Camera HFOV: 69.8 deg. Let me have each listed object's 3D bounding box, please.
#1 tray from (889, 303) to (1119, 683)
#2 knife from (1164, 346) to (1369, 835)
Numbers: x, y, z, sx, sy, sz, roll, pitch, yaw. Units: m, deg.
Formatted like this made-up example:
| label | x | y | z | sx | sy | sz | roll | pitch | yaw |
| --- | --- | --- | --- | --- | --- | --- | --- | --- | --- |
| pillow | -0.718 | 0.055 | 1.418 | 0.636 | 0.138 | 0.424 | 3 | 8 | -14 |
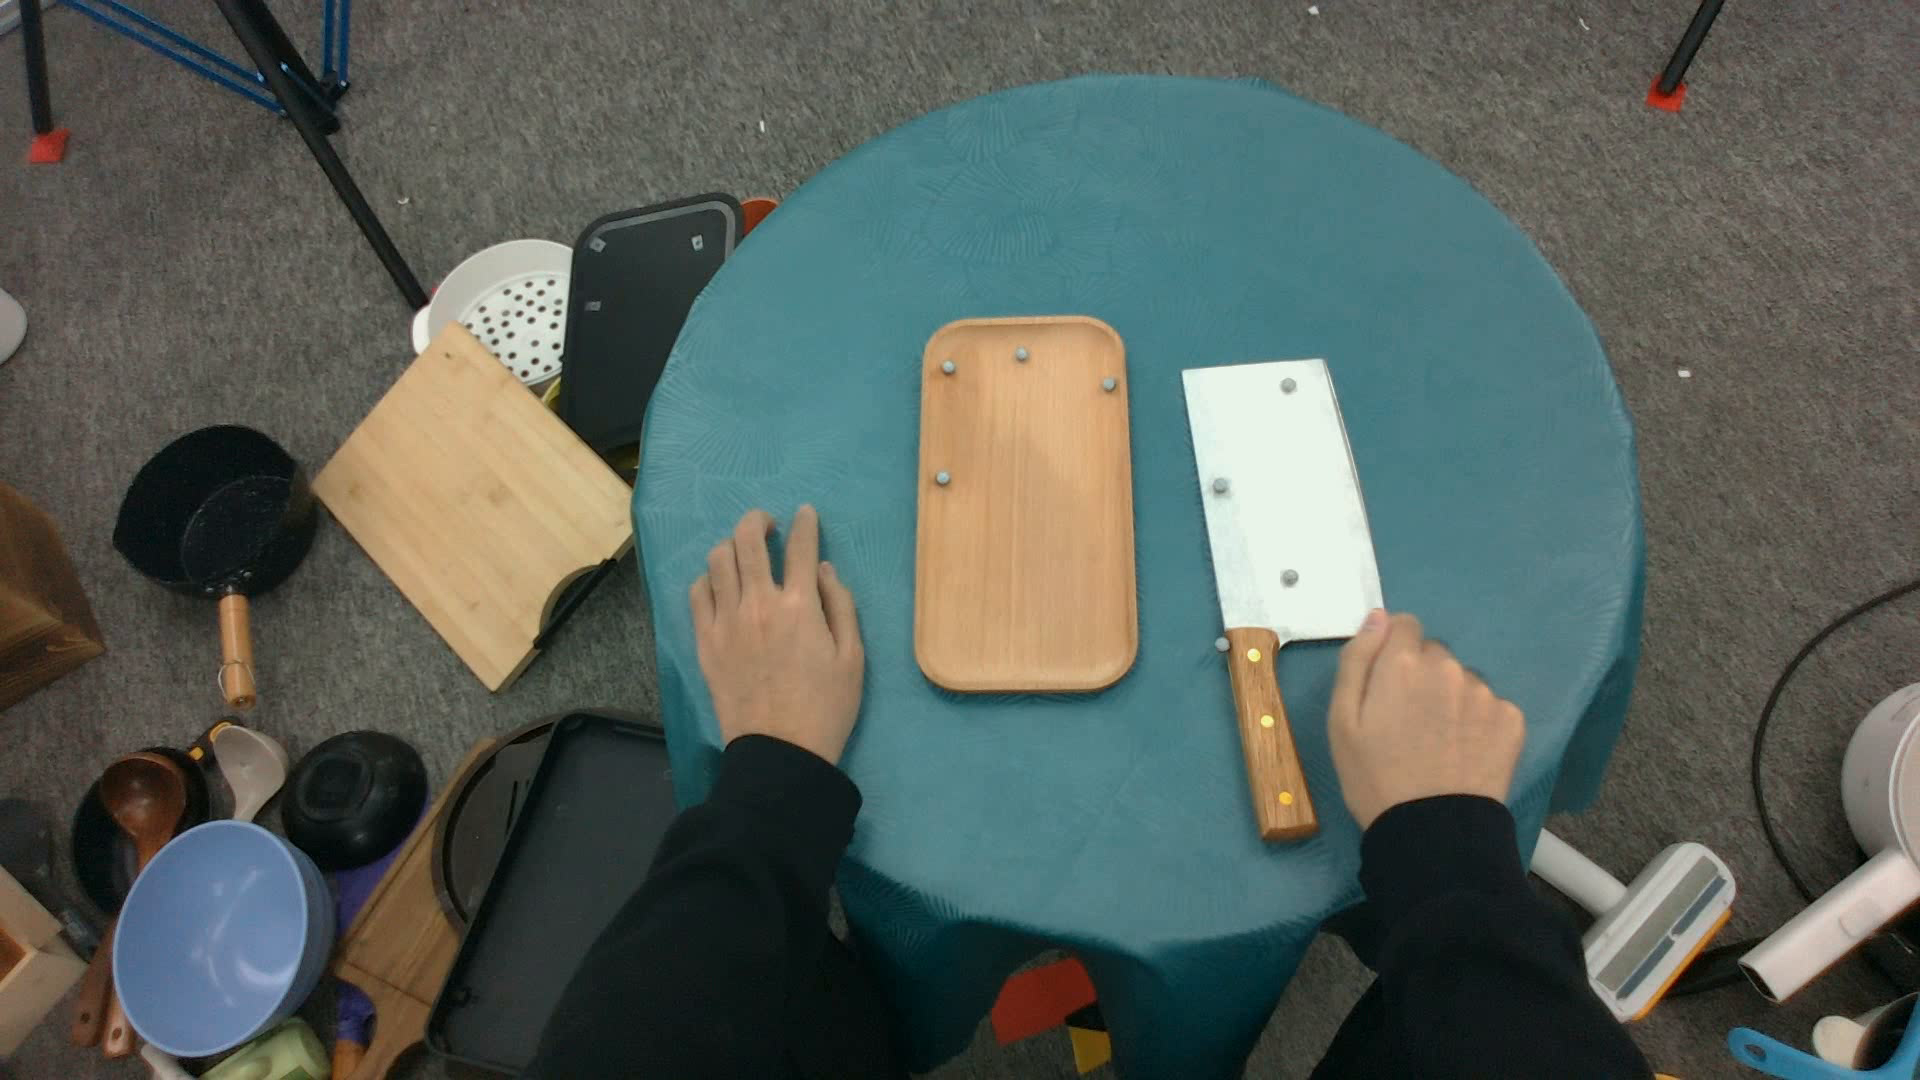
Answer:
| label | x | y | z | sx | sy | sz | roll | pitch | yaw |
| --- | --- | --- | --- | --- | --- | --- | --- | --- | --- |
| tray | 0.027 | -0.033 | 0.816 | 0.130 | 0.023 | 0.251 | 0 | 64 | 5 |
| knife | 0.180 | 0.015 | 0.782 | 0.093 | 0.021 | 0.307 | -5 | 61 | 0 |
